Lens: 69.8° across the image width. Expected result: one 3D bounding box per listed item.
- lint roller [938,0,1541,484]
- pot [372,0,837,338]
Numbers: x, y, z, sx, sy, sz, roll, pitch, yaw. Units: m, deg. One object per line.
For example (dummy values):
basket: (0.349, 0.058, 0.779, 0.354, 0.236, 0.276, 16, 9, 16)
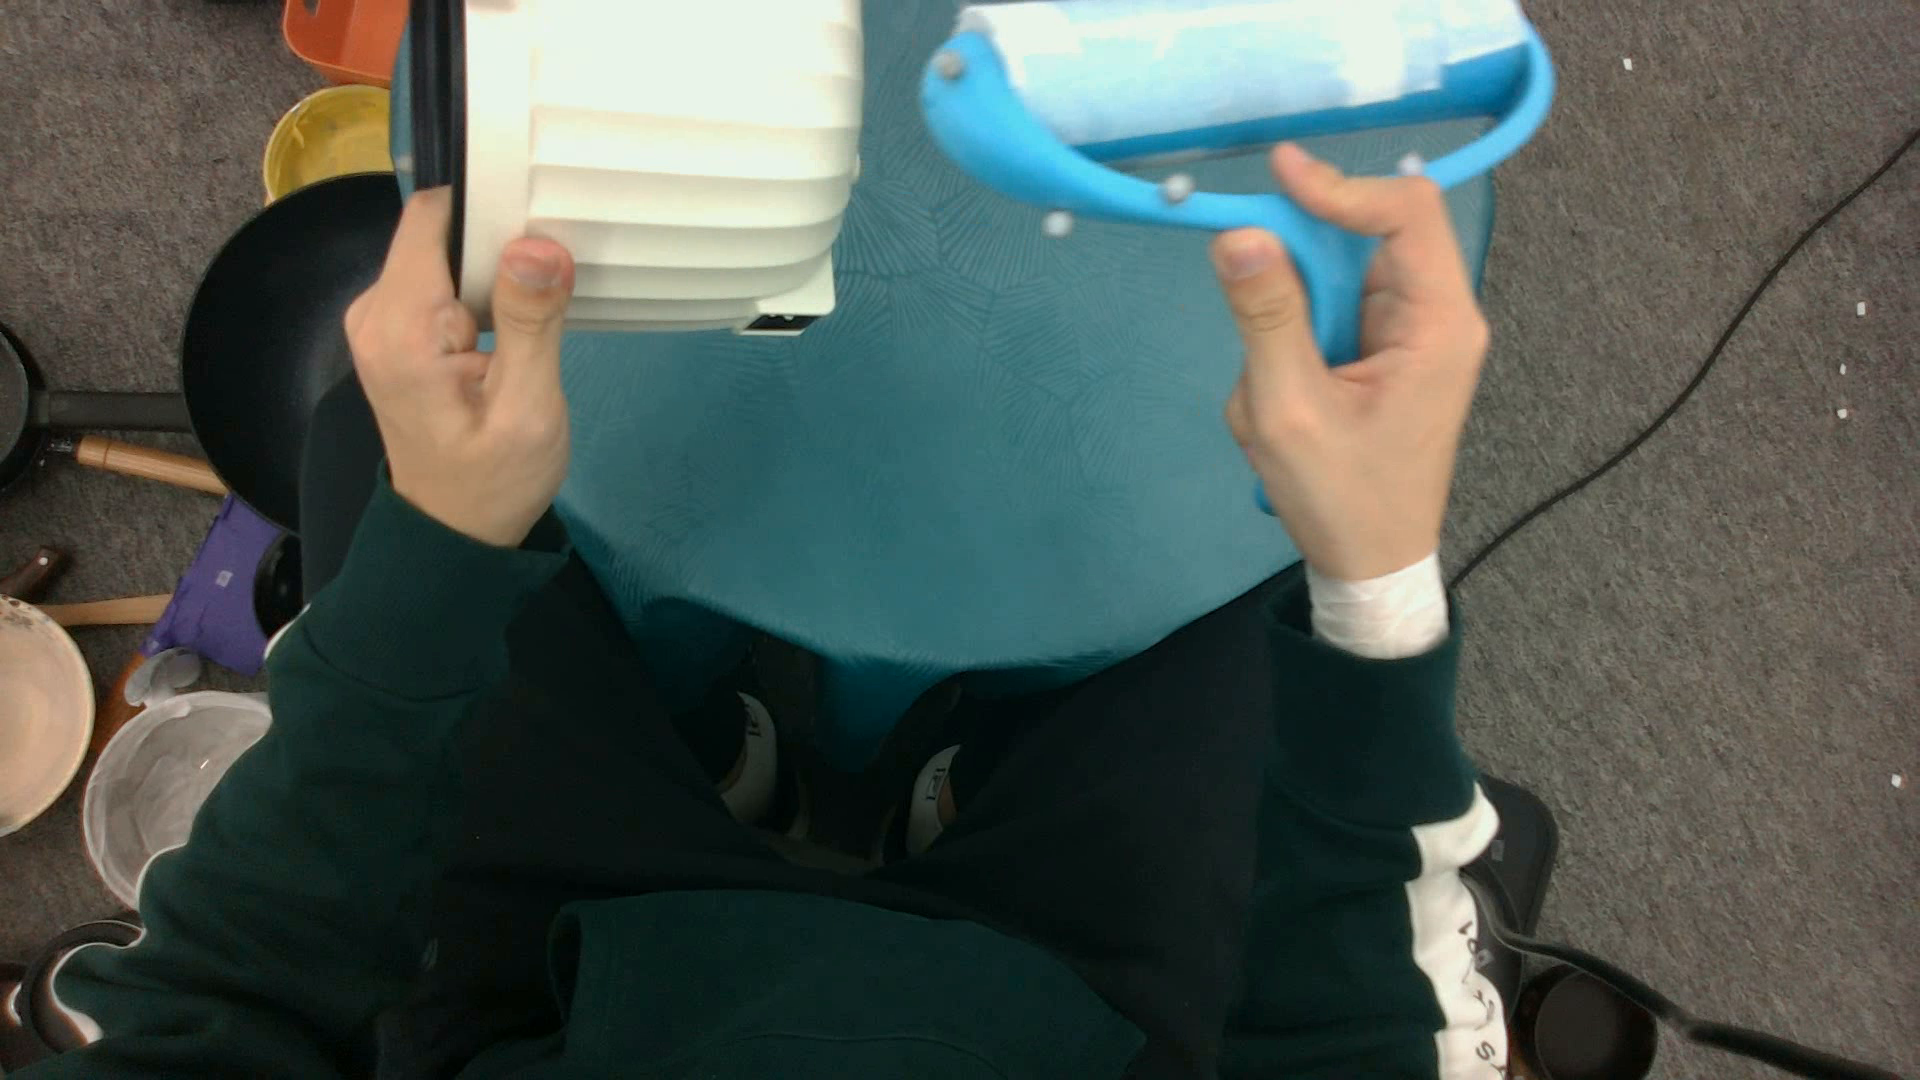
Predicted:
lint roller: (0.111, -0.108, 0.467, 0.229, 0.068, 0.180, -19, 100, -25)
pot: (-0.132, -0.171, 0.500, 0.143, 0.239, 0.190, -8, 87, -29)
